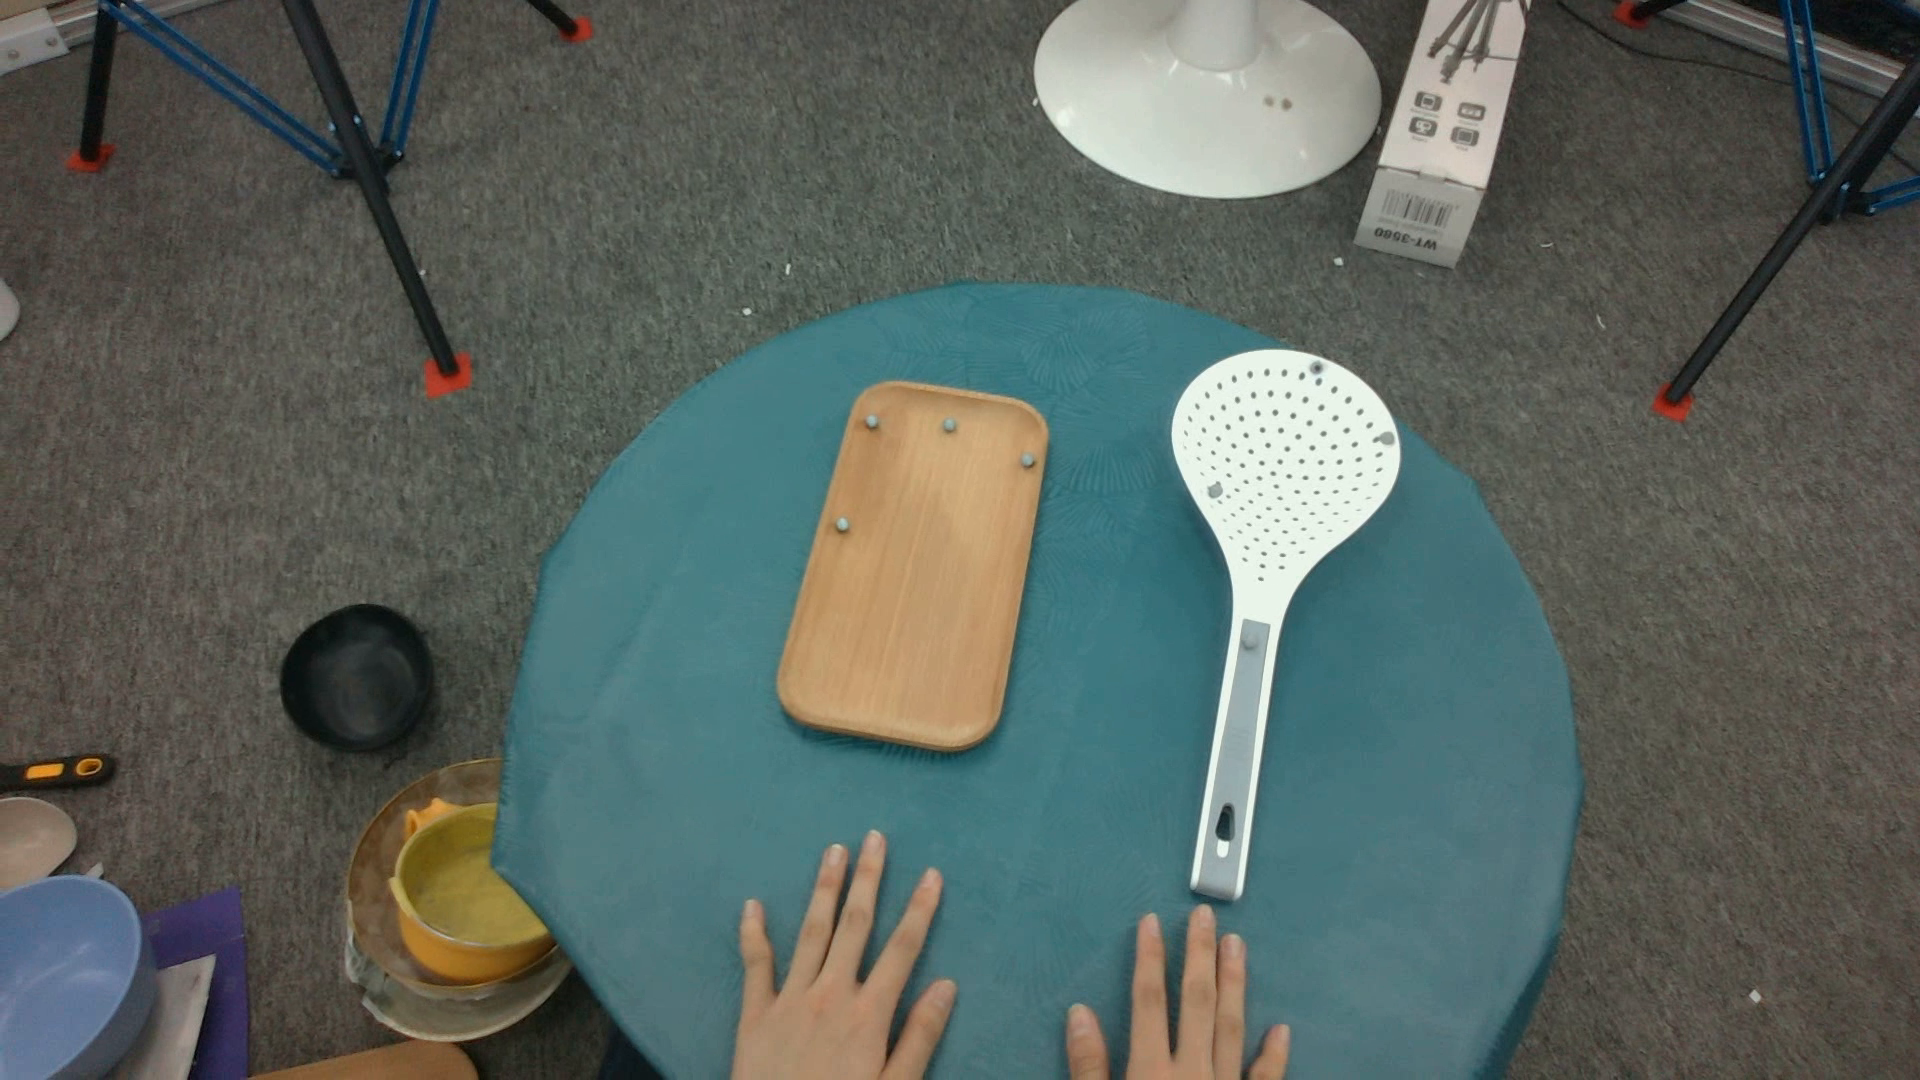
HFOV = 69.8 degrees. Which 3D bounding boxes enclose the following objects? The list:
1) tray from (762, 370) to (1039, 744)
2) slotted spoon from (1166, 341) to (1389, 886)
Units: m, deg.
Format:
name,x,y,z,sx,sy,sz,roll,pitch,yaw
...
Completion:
name,x,y,z,sx,sy,sz,roll,pitch,yaw
tray,-0.030,0.002,0.818,0.130,0.023,0.252,9,57,5
slotted spoon,0.167,0.028,0.793,0.136,0.045,0.351,12,57,8
